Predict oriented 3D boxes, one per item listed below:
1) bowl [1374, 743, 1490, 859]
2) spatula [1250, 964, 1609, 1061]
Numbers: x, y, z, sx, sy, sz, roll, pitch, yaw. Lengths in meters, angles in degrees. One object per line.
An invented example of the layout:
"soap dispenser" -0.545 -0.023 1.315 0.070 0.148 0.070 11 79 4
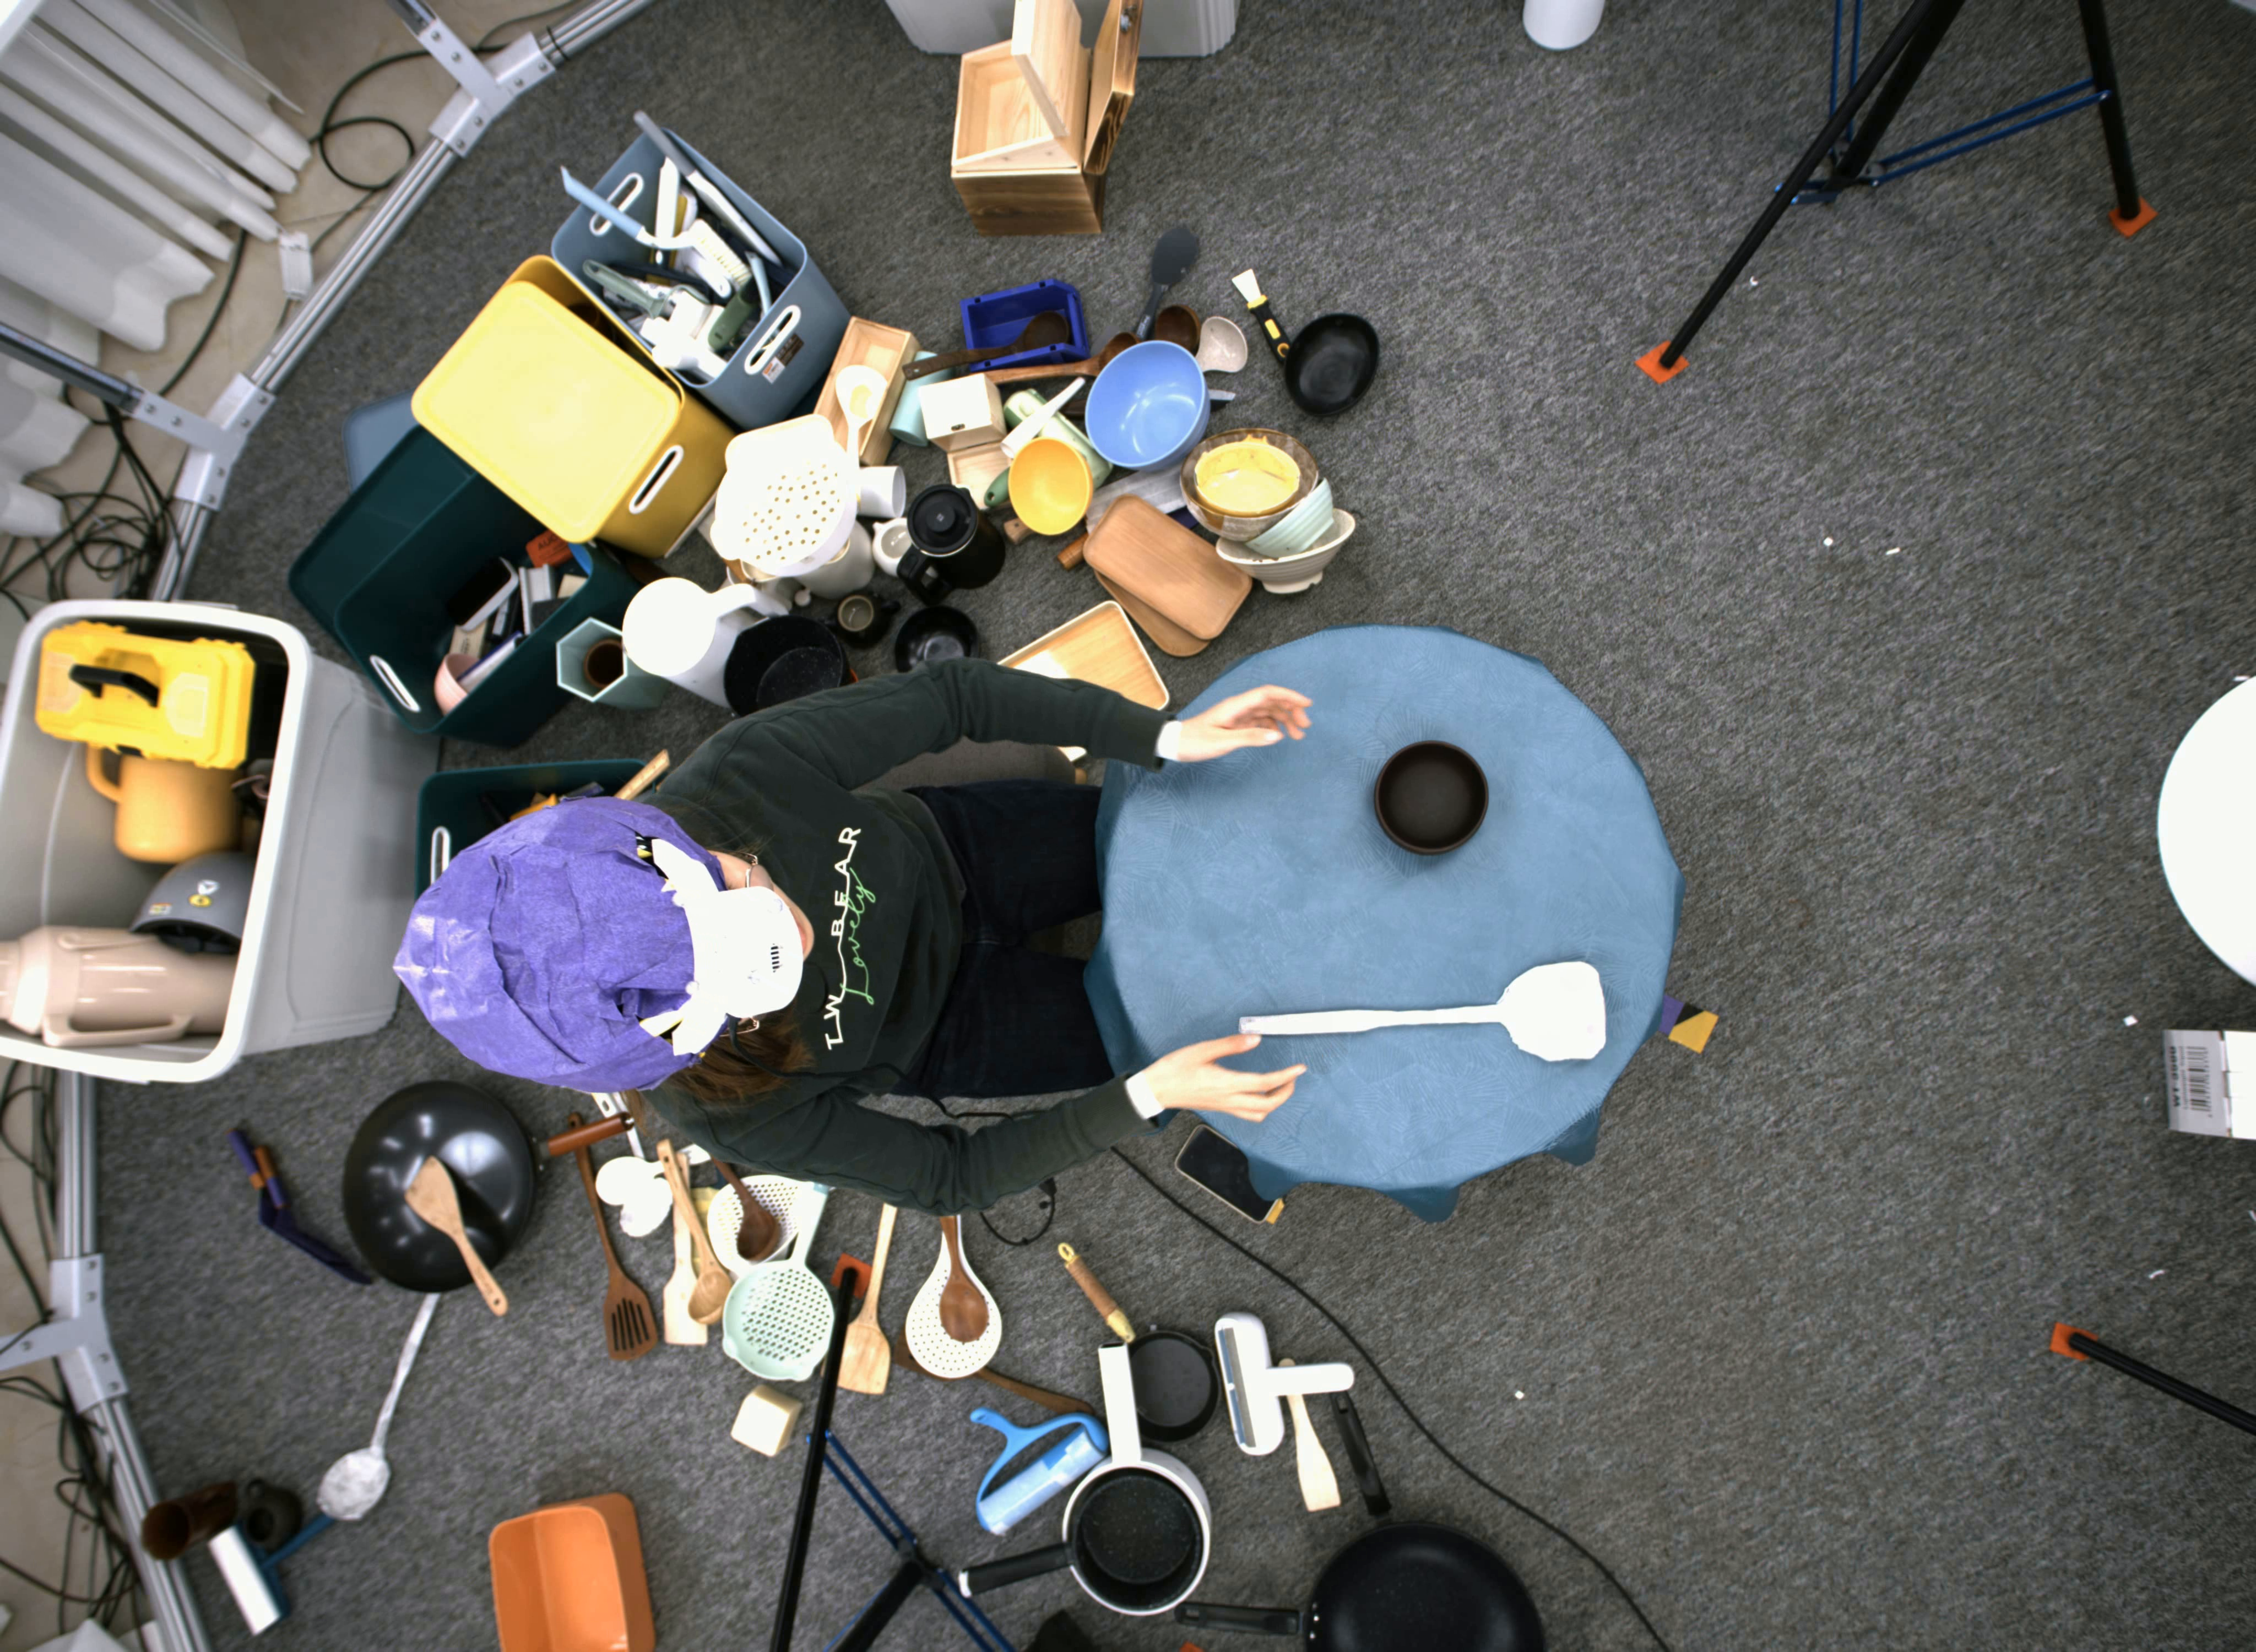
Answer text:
"bowl" 0.314 -0.025 1.427 0.118 0.070 0.117 -1 83 11
"spatula" 0.307 0.195 1.430 0.366 0.045 0.098 -3 87 10
